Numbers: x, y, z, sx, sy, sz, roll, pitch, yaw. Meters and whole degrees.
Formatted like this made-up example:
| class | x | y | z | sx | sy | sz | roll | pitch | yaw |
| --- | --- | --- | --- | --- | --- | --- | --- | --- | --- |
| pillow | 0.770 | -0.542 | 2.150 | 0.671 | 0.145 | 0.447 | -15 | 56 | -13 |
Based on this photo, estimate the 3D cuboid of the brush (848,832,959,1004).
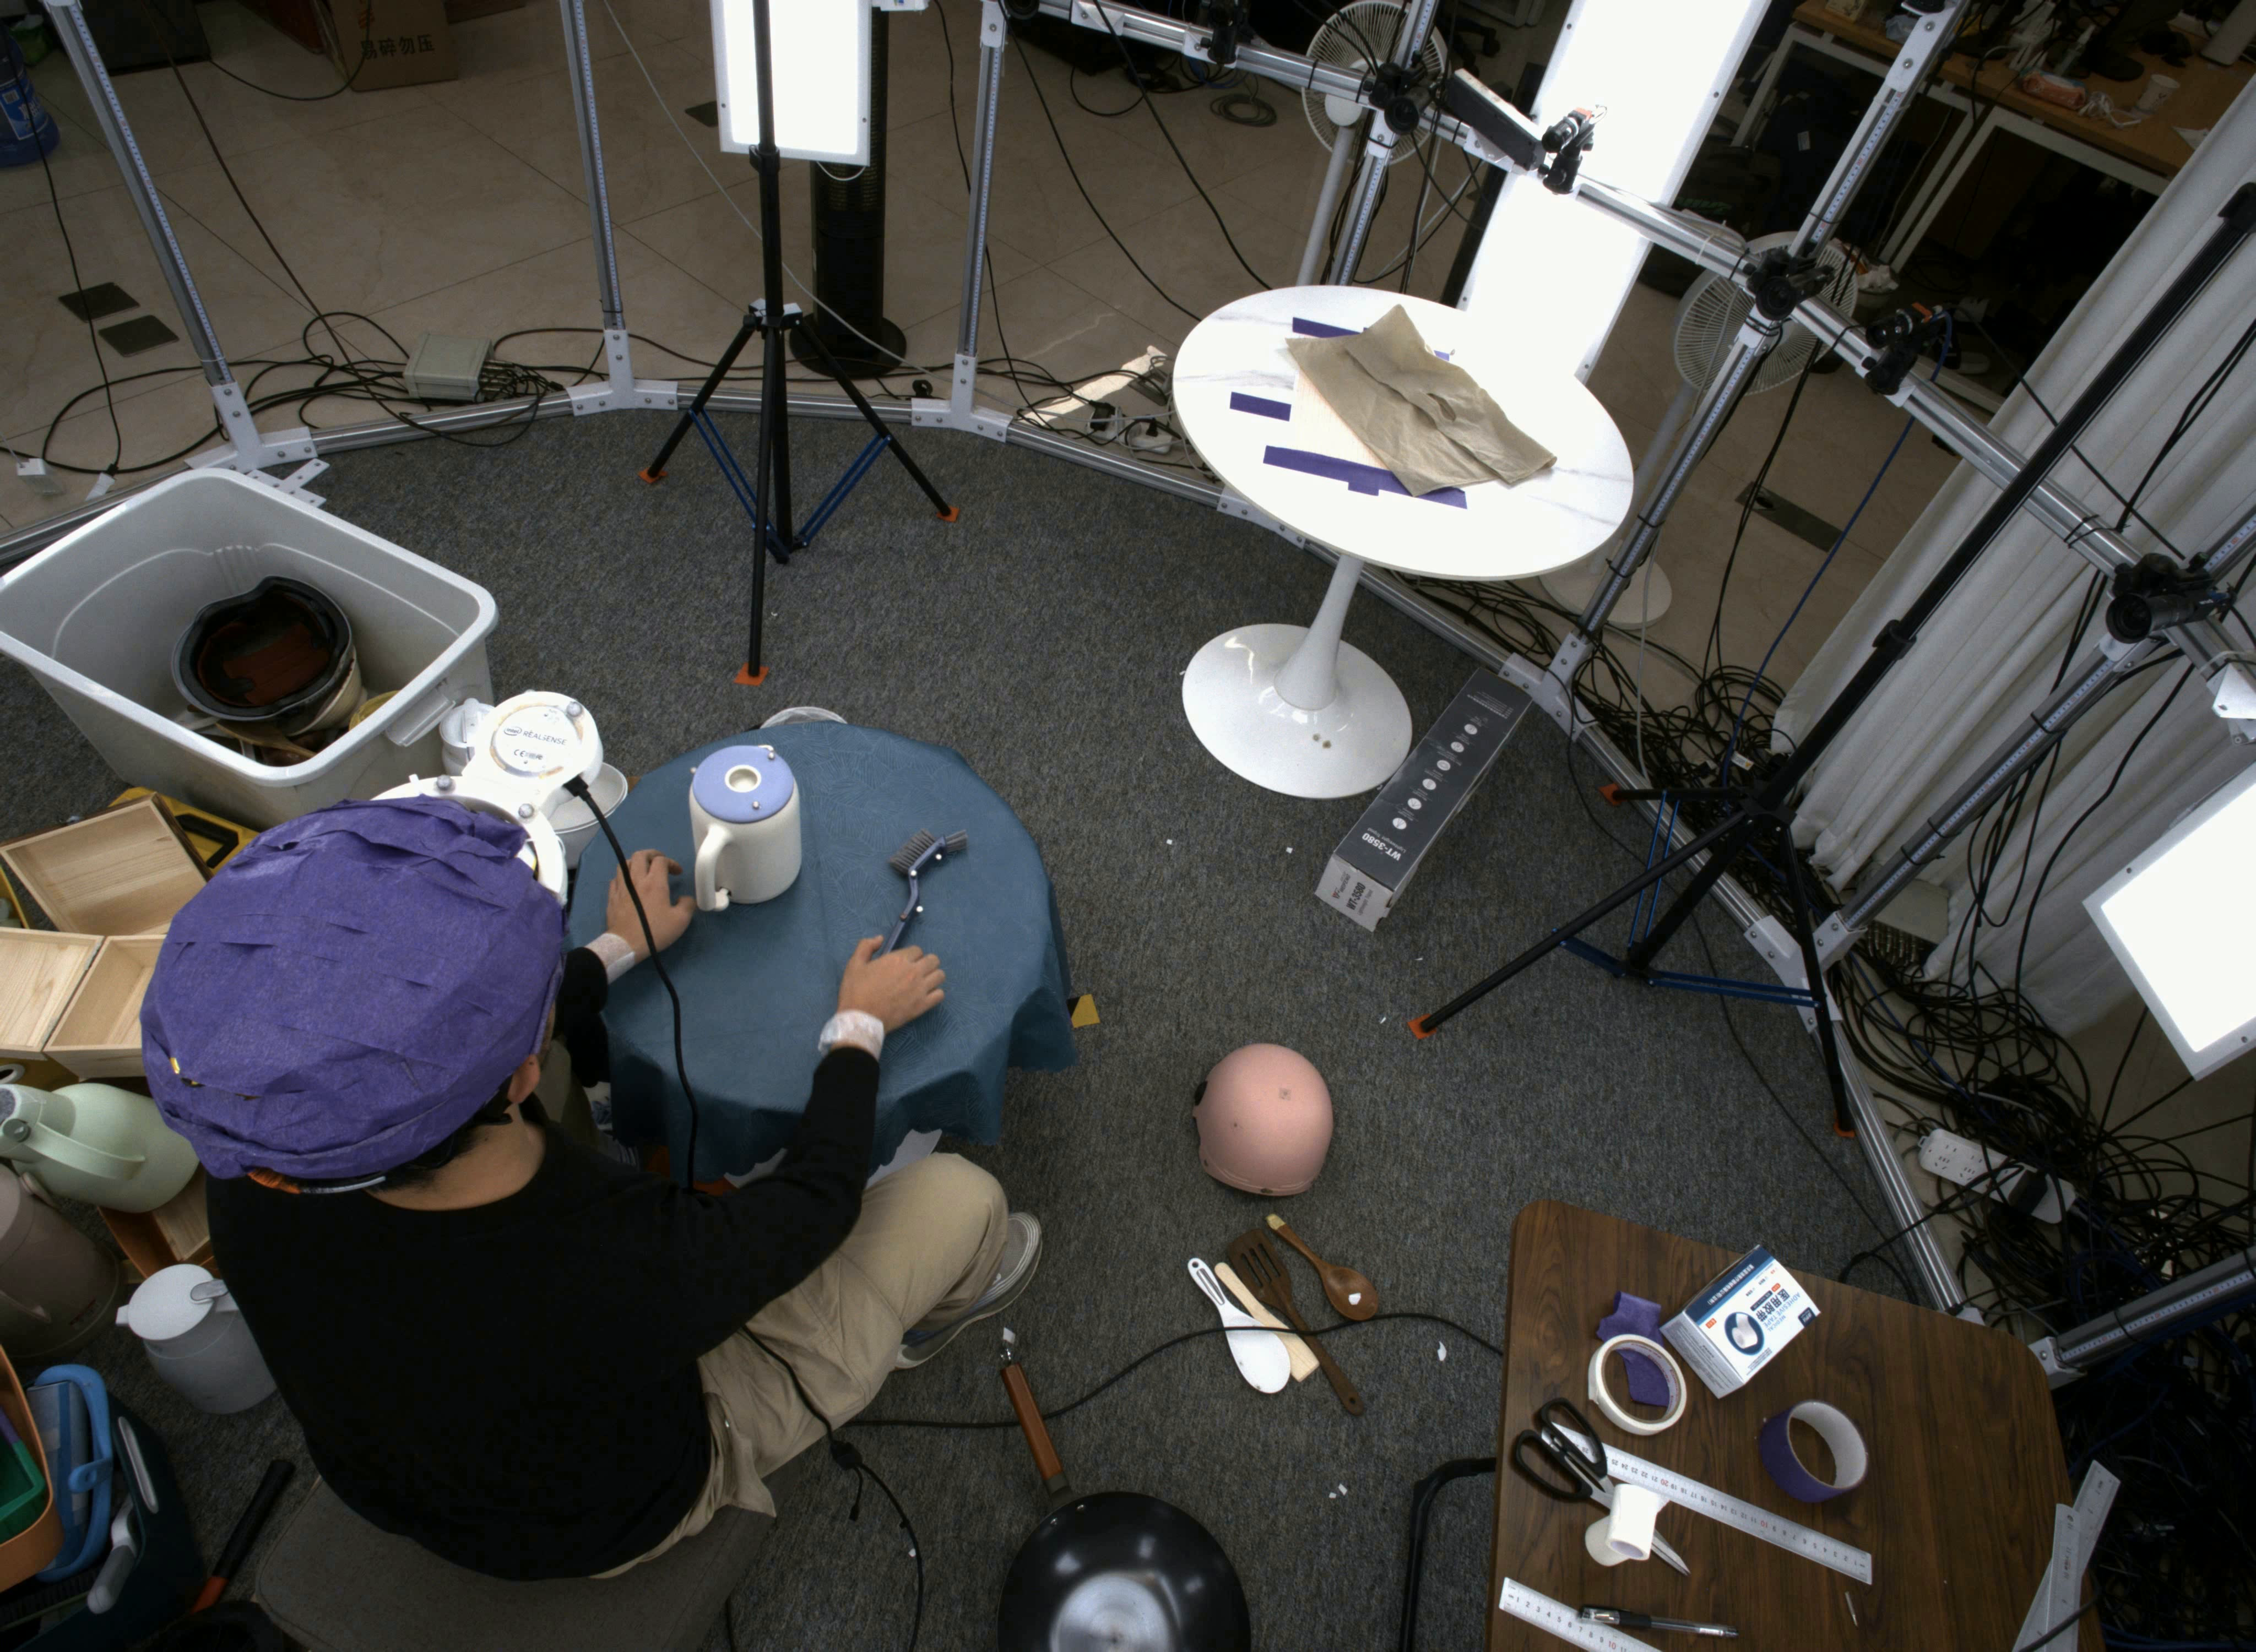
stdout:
| class | x | y | z | sx | sy | sz | roll | pitch | yaw |
| --- | --- | --- | --- | --- | --- | --- | --- | --- | --- |
| brush | -0.288 | 0.109 | 1.653 | 0.095 | 0.034 | 0.269 | 15 | 51 | -6 |

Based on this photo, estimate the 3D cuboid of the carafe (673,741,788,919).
| class | x | y | z | sx | sy | sz | roll | pitch | yaw |
| --- | --- | --- | --- | --- | --- | --- | --- | --- | --- |
| carafe | -0.494 | 0.017 | 1.577 | 0.131 | 0.186 | 0.189 | 16 | 52 | 1 |
